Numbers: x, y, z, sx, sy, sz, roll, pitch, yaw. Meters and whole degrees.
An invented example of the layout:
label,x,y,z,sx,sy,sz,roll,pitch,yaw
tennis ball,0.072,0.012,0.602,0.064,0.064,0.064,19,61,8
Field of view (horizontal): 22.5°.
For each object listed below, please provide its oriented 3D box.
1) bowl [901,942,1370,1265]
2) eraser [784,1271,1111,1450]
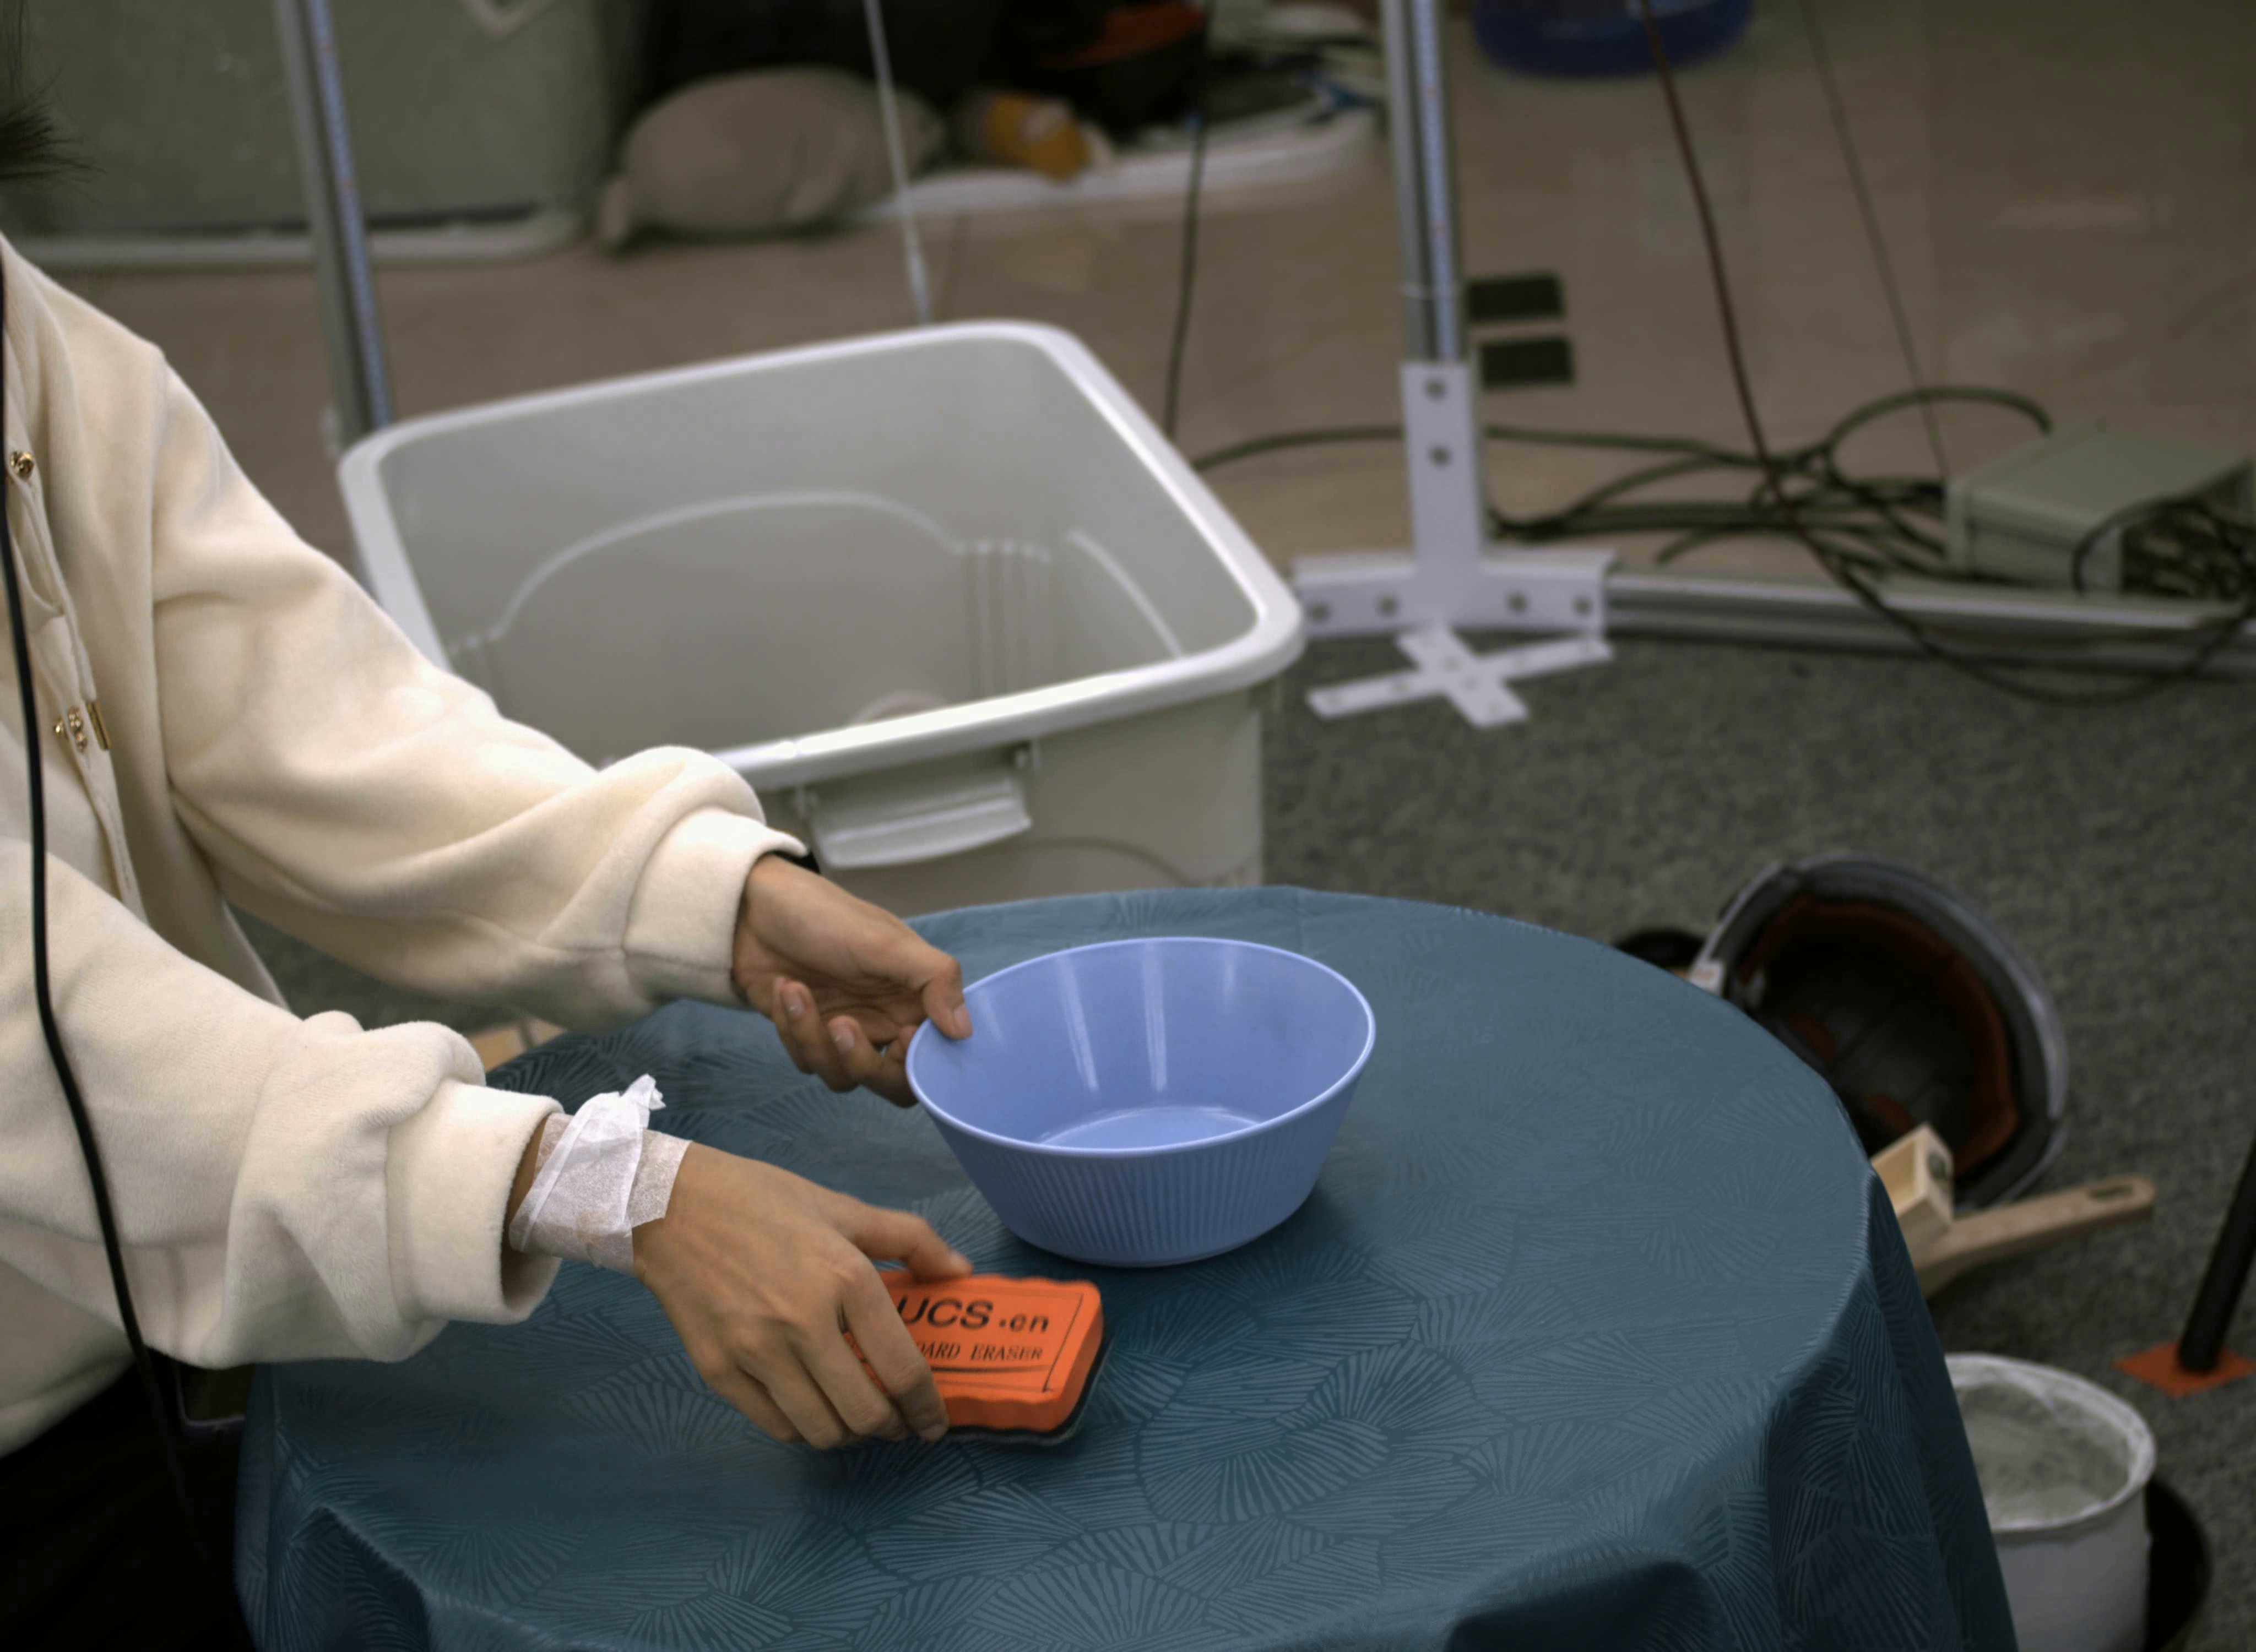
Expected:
label,x,y,z,sx,sy,sz,roll,pitch,yaw
bowl,0.005,0.109,2.123,0.176,0.071,0.173,-4,25,2
eraser,-0.063,0.188,2.004,0.108,0.023,0.058,3,45,24
